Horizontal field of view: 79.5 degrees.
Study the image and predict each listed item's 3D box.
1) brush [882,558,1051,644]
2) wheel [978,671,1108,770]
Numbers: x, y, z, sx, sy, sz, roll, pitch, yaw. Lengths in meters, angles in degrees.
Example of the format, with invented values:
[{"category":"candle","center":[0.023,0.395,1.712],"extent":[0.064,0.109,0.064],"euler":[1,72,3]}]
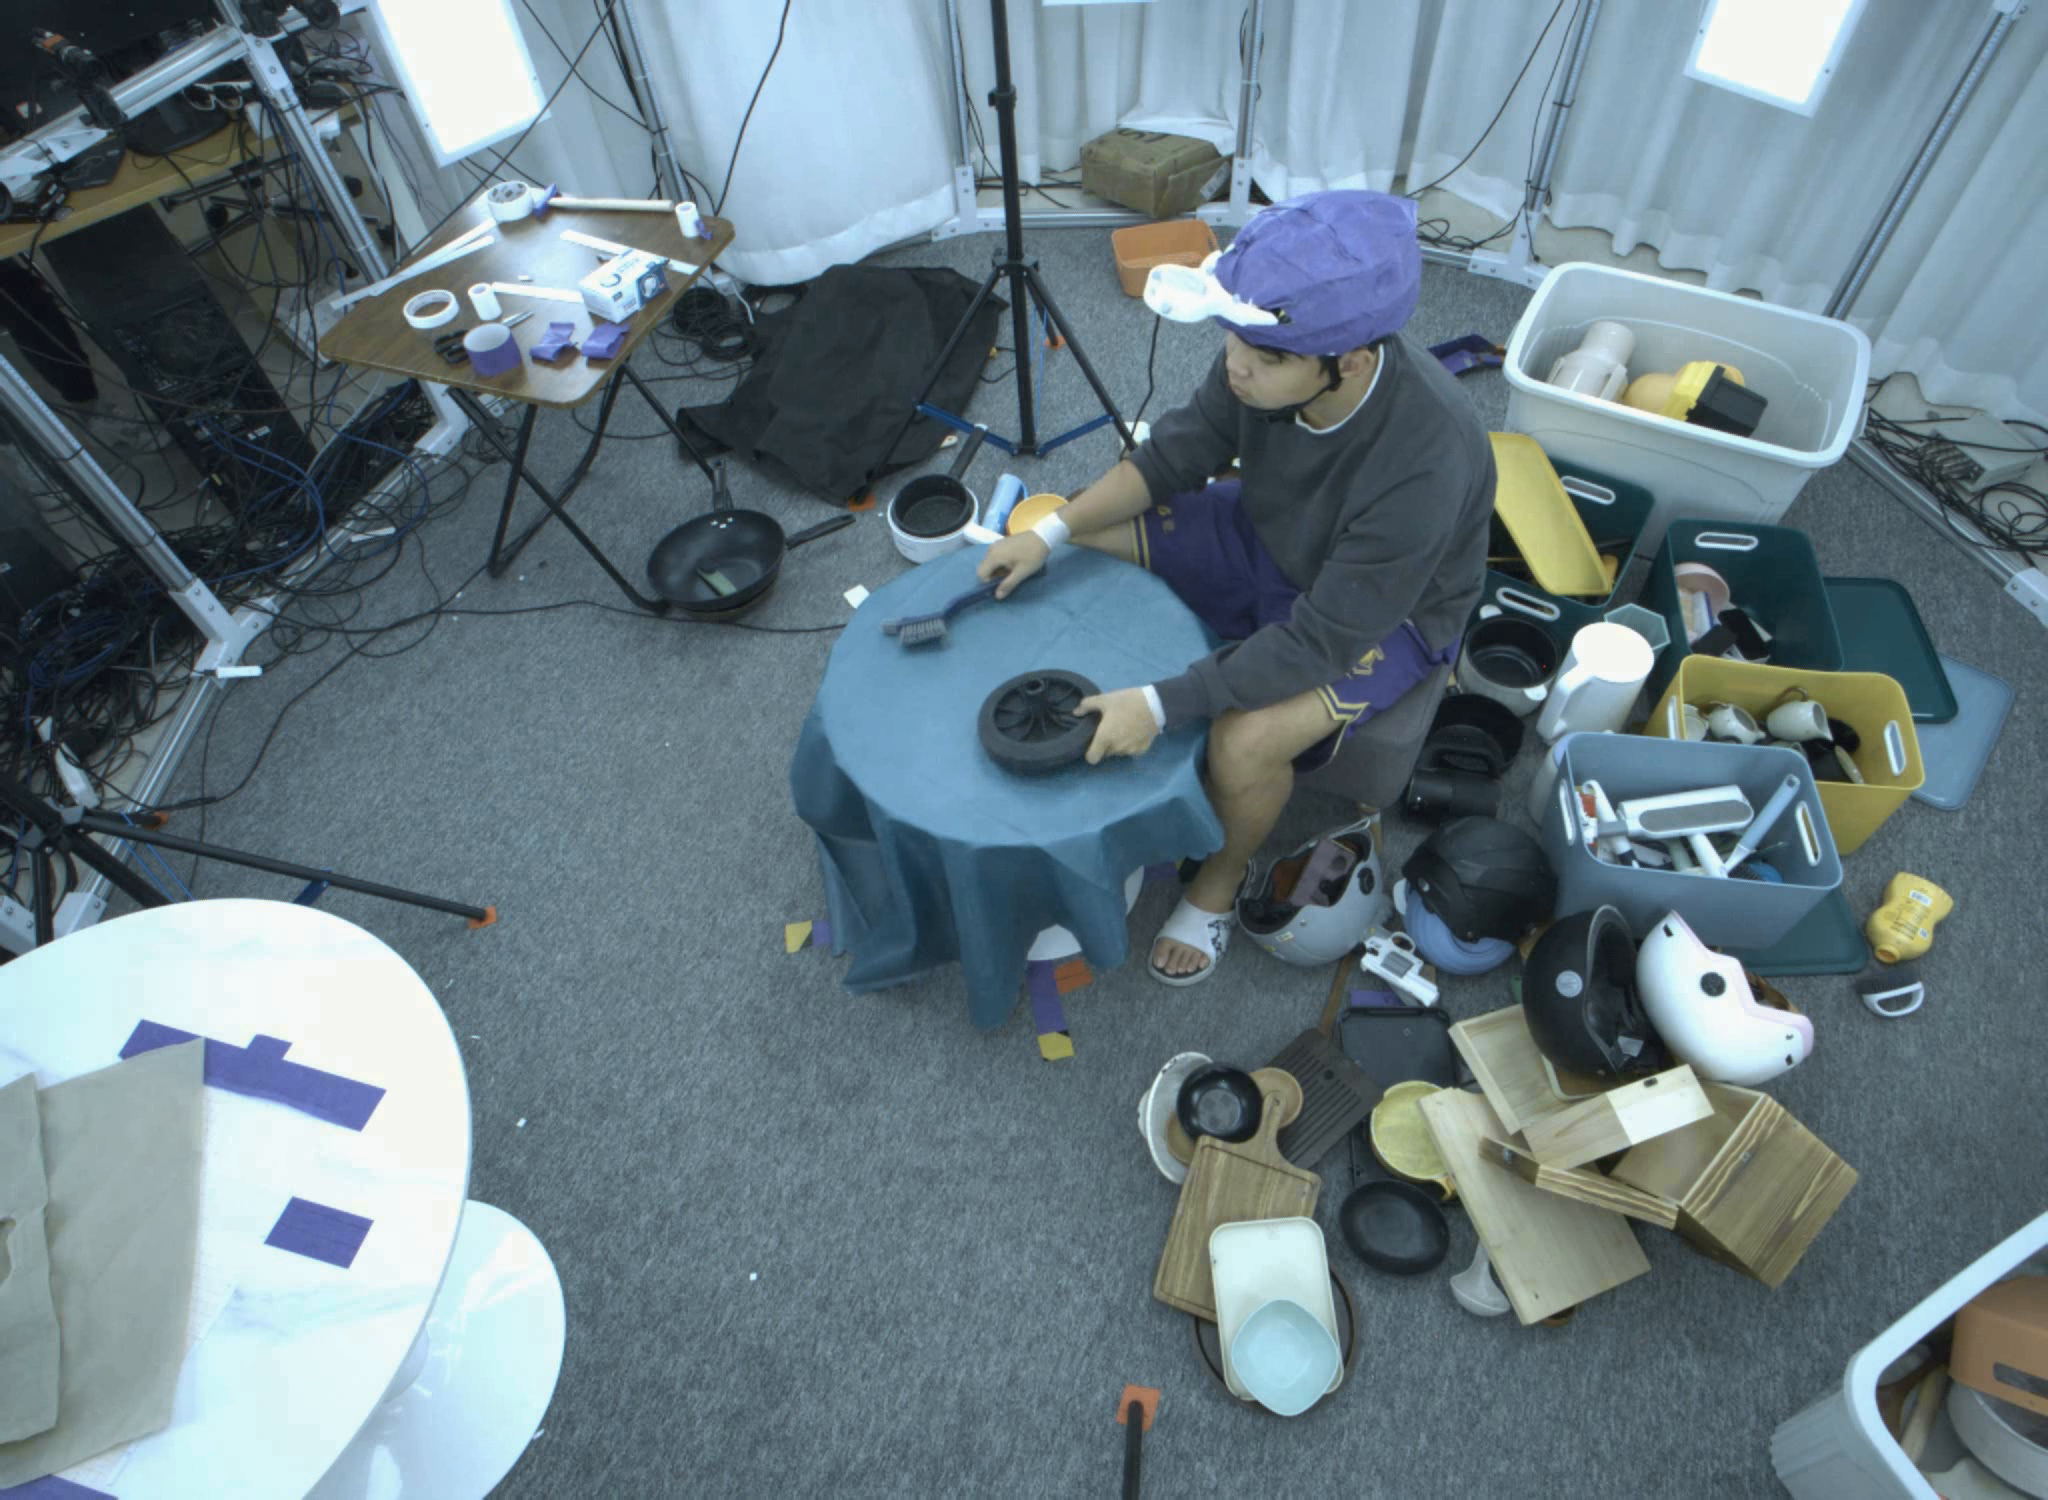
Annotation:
[{"category":"brush","center":[-0.089,-0.243,1.941],"extent":[0.275,0.034,0.093],"euler":[-31,46,-17]},{"category":"wheel","center":[0.023,-0.059,1.774],"extent":[0.189,0.080,0.185],"euler":[-8,46,3]}]
